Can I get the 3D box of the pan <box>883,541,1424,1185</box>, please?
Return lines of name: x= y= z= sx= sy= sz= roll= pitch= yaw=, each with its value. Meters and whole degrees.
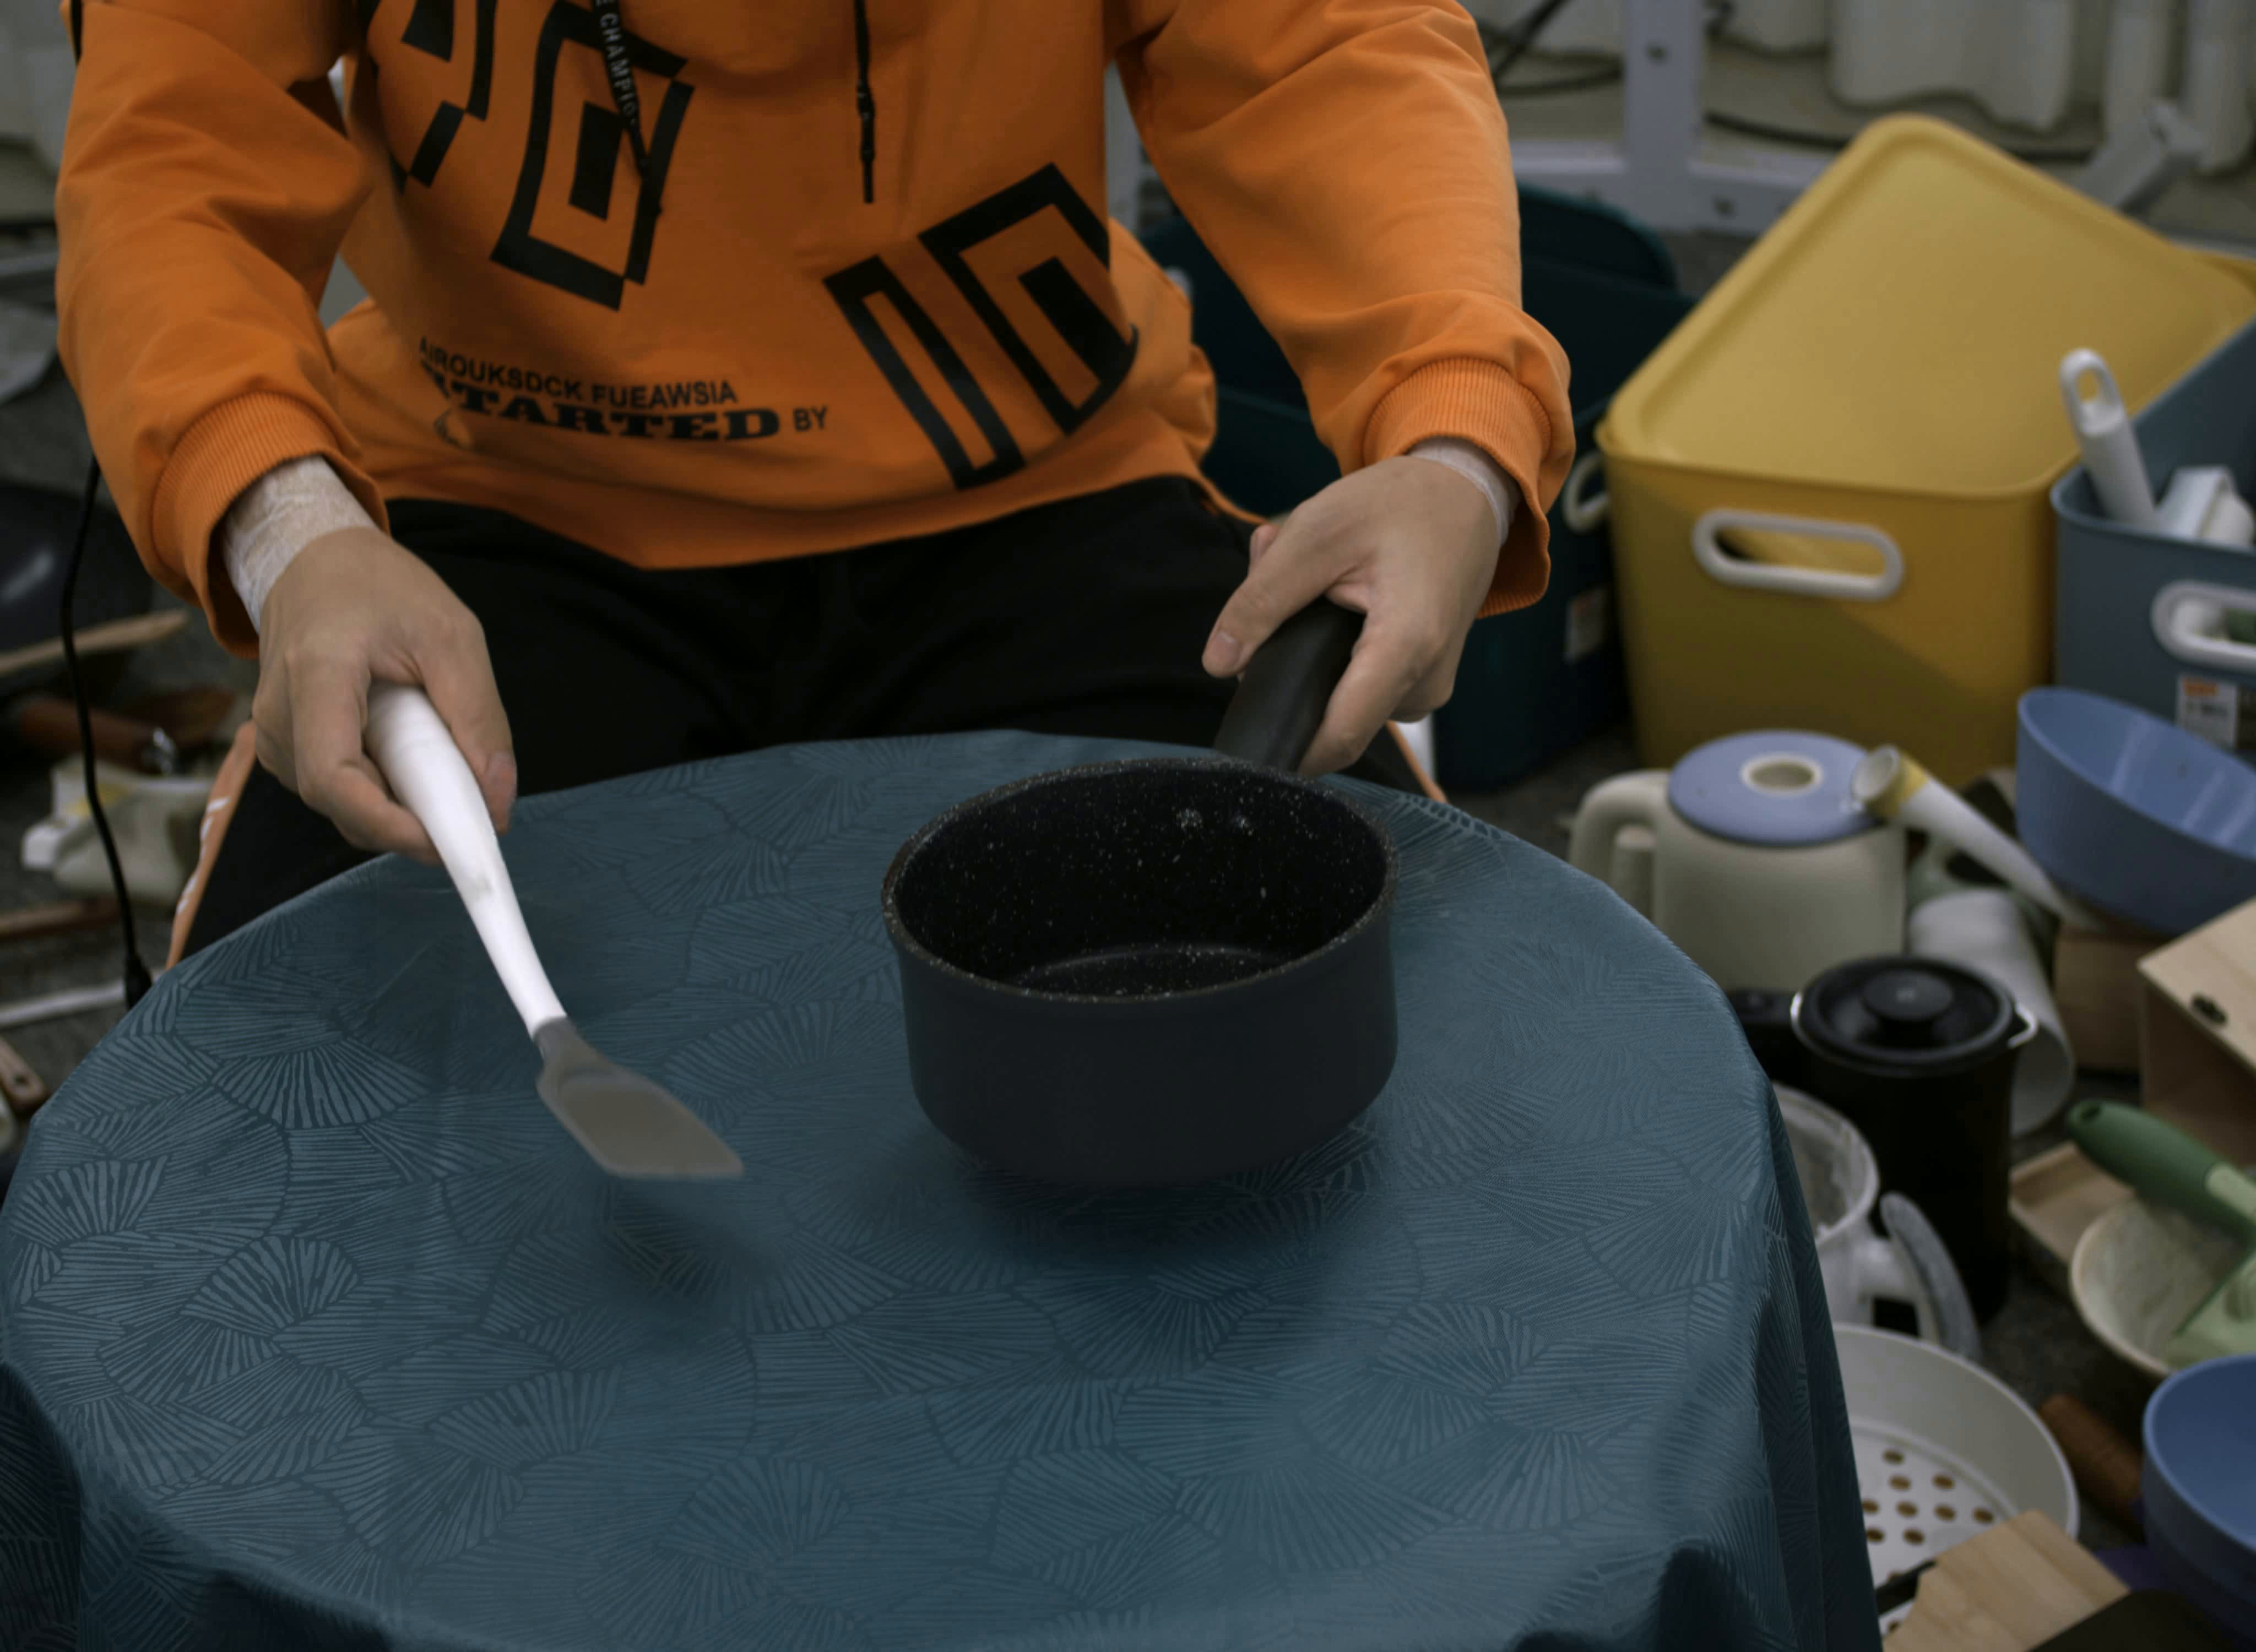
pan: x=0.034 y=0.009 z=1.922 sx=0.171 sy=0.085 sz=0.334 roll=7 pitch=30 yaw=20

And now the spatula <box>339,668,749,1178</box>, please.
spatula: x=-0.204 y=0.038 z=1.891 sx=0.059 sy=0.032 sz=0.290 roll=7 pitch=30 yaw=-34
